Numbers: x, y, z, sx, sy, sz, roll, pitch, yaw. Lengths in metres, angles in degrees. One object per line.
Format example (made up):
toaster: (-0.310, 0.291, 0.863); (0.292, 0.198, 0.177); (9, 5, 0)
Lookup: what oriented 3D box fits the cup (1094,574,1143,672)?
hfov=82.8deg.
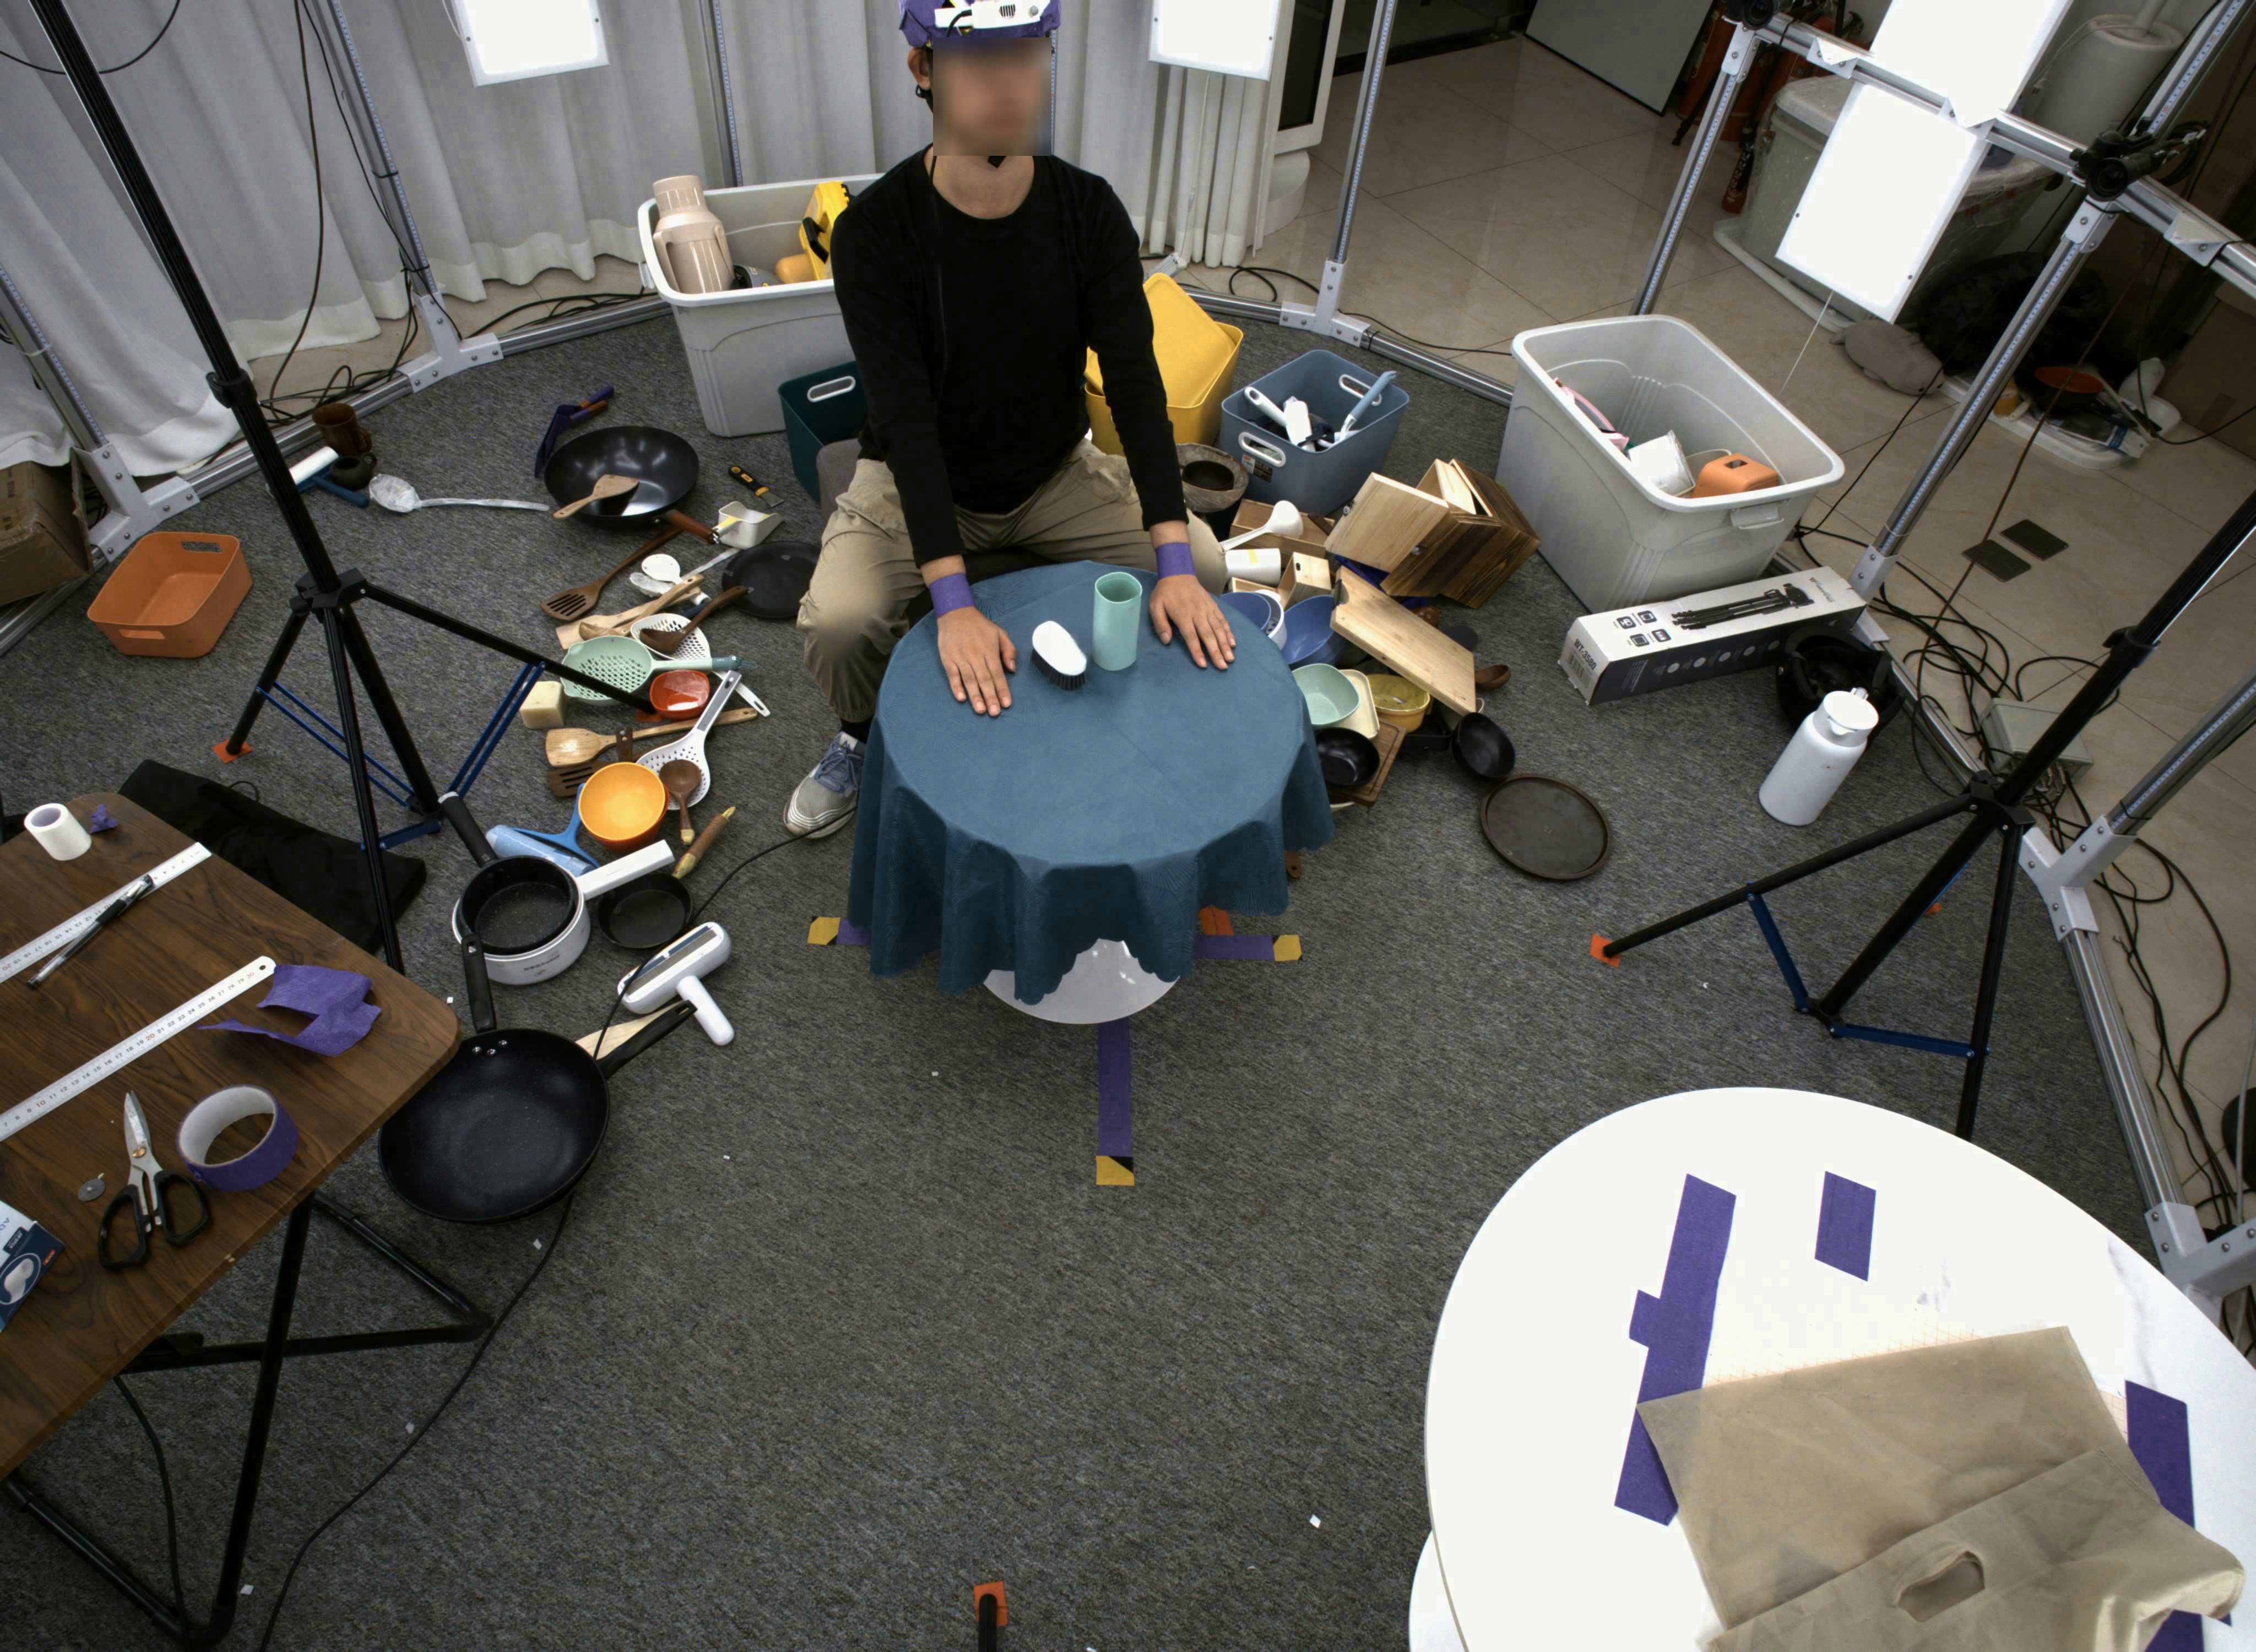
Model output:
cup: (-0.017, -0.289, 1.836); (0.066, 0.129, 0.068); (2, 50, -3)

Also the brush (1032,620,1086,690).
brush: (-0.098, -0.251, 1.829); (0.050, 0.071, 0.101); (-26, 57, -26)
